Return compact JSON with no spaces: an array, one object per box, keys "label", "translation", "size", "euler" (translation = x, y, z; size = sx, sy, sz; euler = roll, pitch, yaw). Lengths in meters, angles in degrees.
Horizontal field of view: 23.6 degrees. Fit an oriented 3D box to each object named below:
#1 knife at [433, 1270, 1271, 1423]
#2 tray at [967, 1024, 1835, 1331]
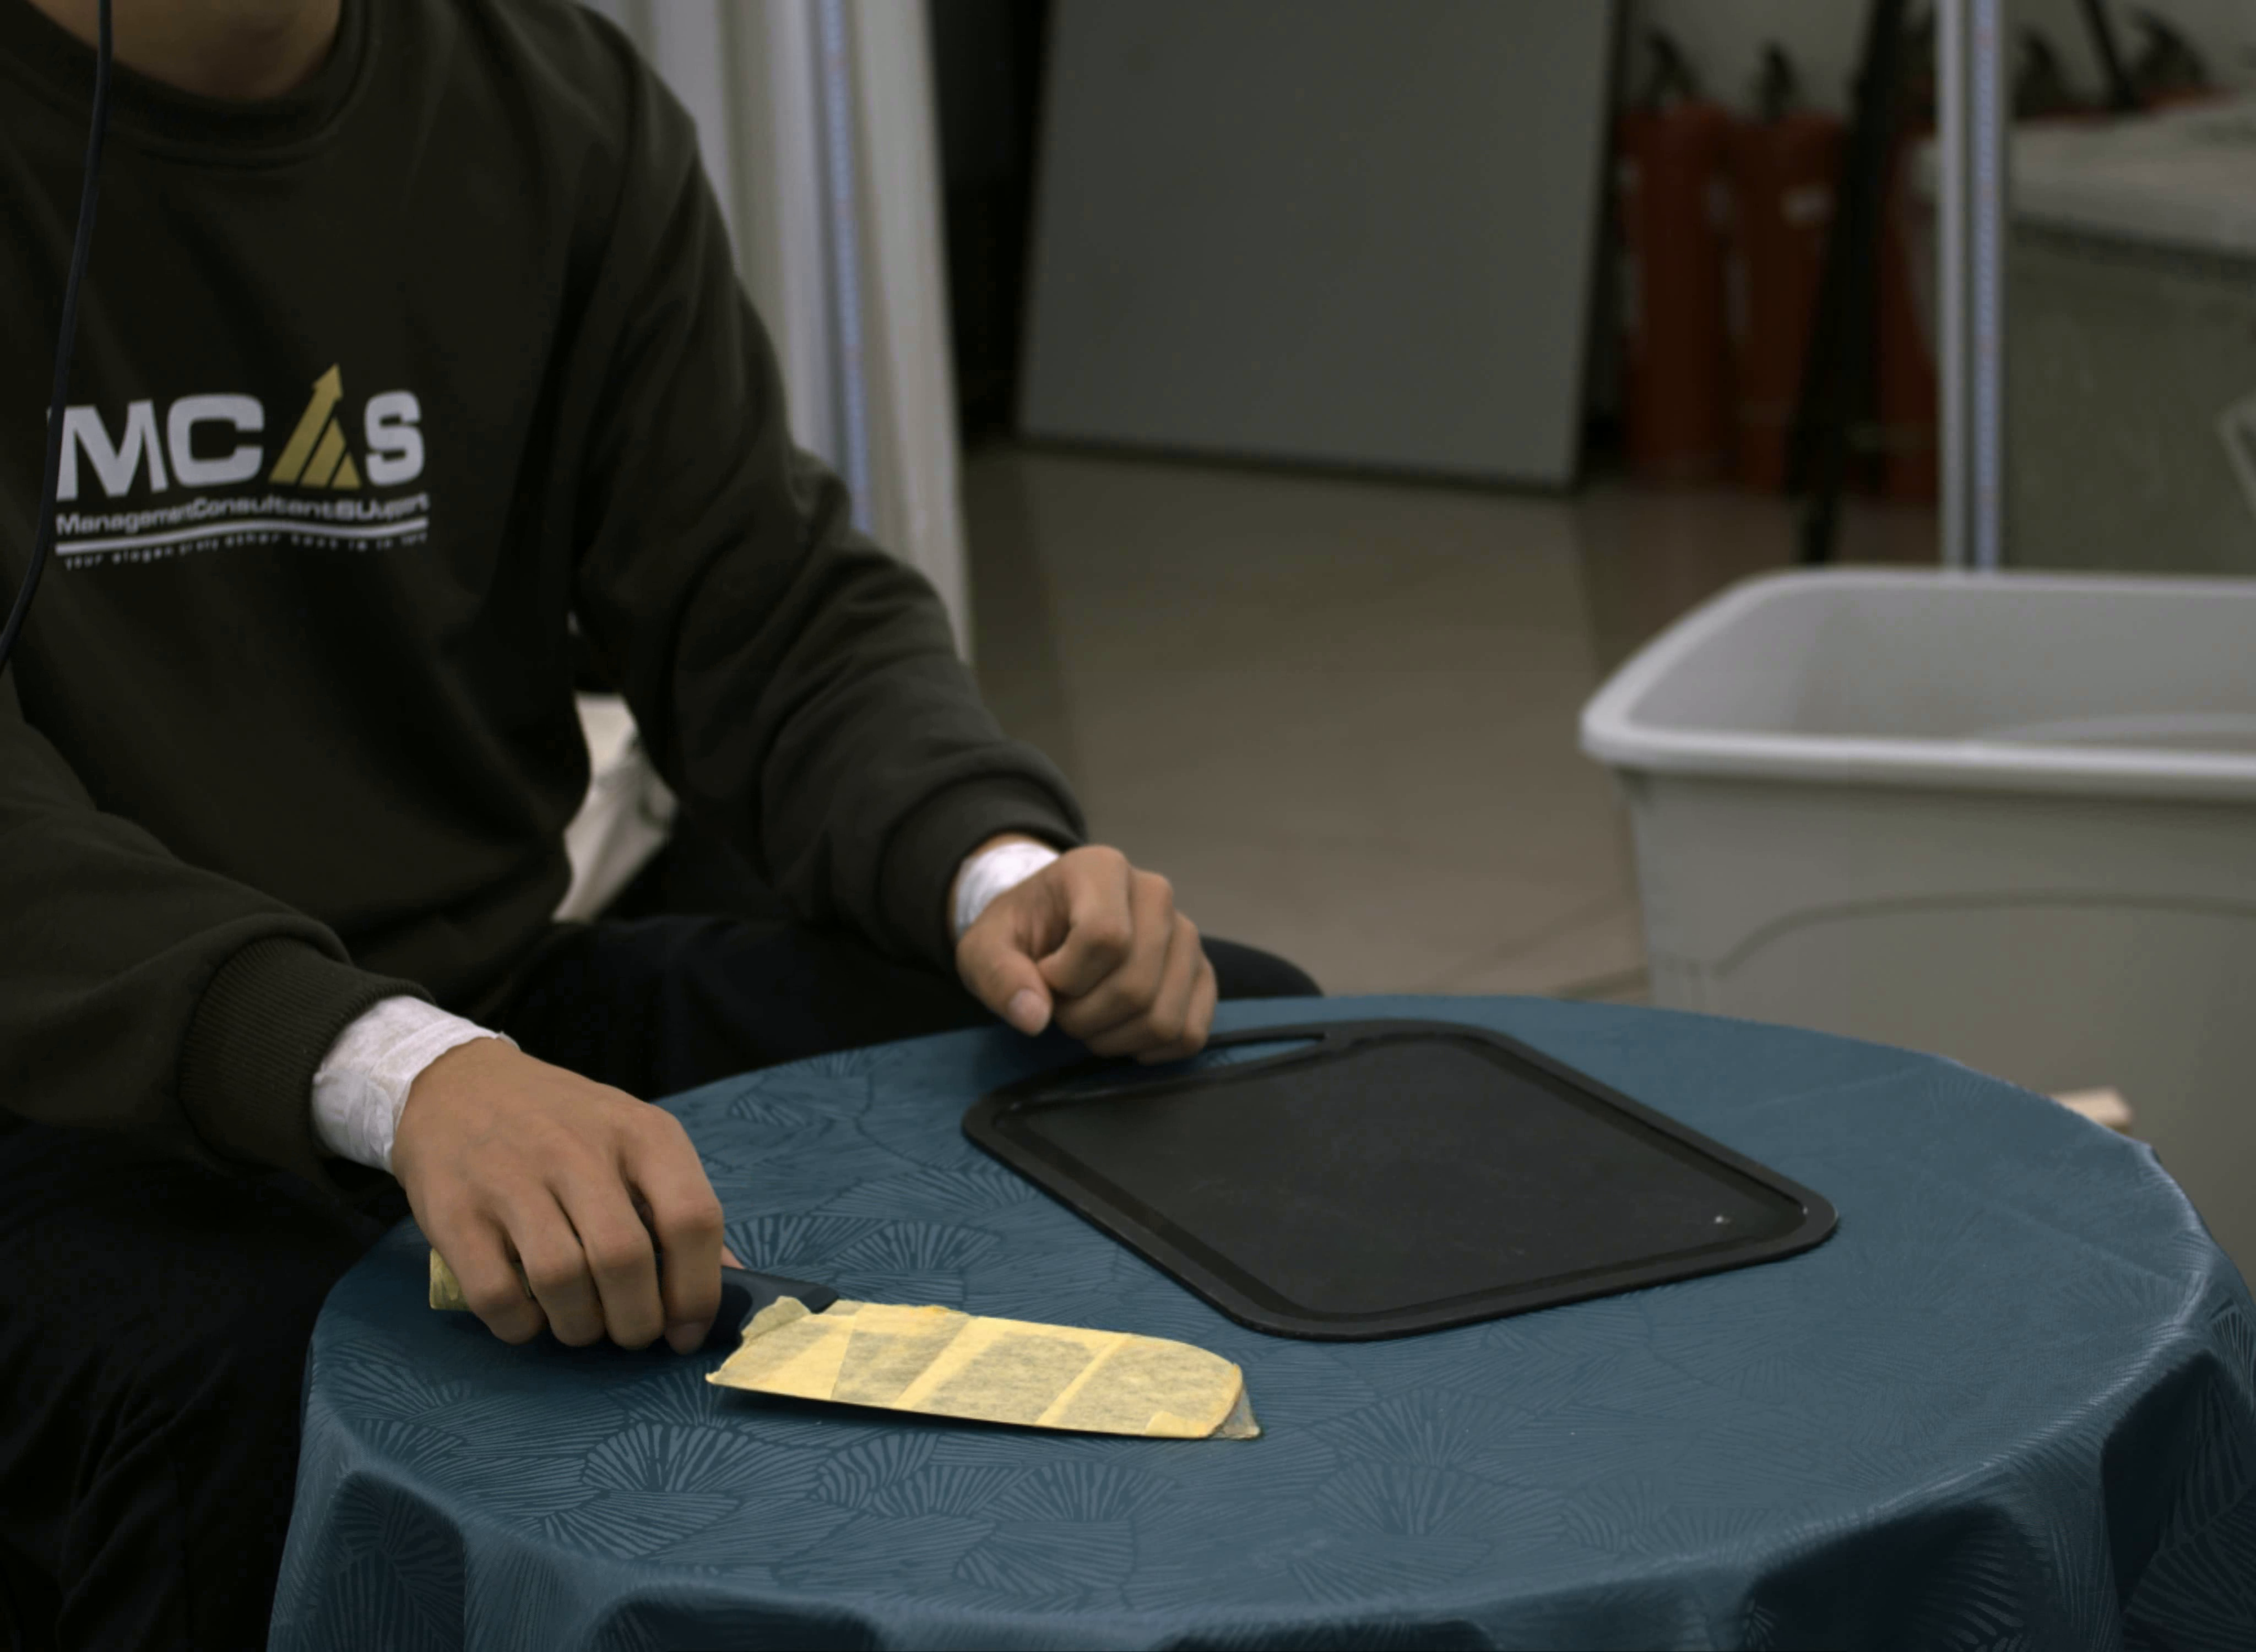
[{"label":"knife","translation":[-0.089,0.159,1.617],"size":[0.290,0.027,0.080],"euler":[3,14,25]},{"label":"tray","translation":[0.080,0.110,1.784],"size":[0.206,0.010,0.328],"euler":[-9,14,-21]}]
